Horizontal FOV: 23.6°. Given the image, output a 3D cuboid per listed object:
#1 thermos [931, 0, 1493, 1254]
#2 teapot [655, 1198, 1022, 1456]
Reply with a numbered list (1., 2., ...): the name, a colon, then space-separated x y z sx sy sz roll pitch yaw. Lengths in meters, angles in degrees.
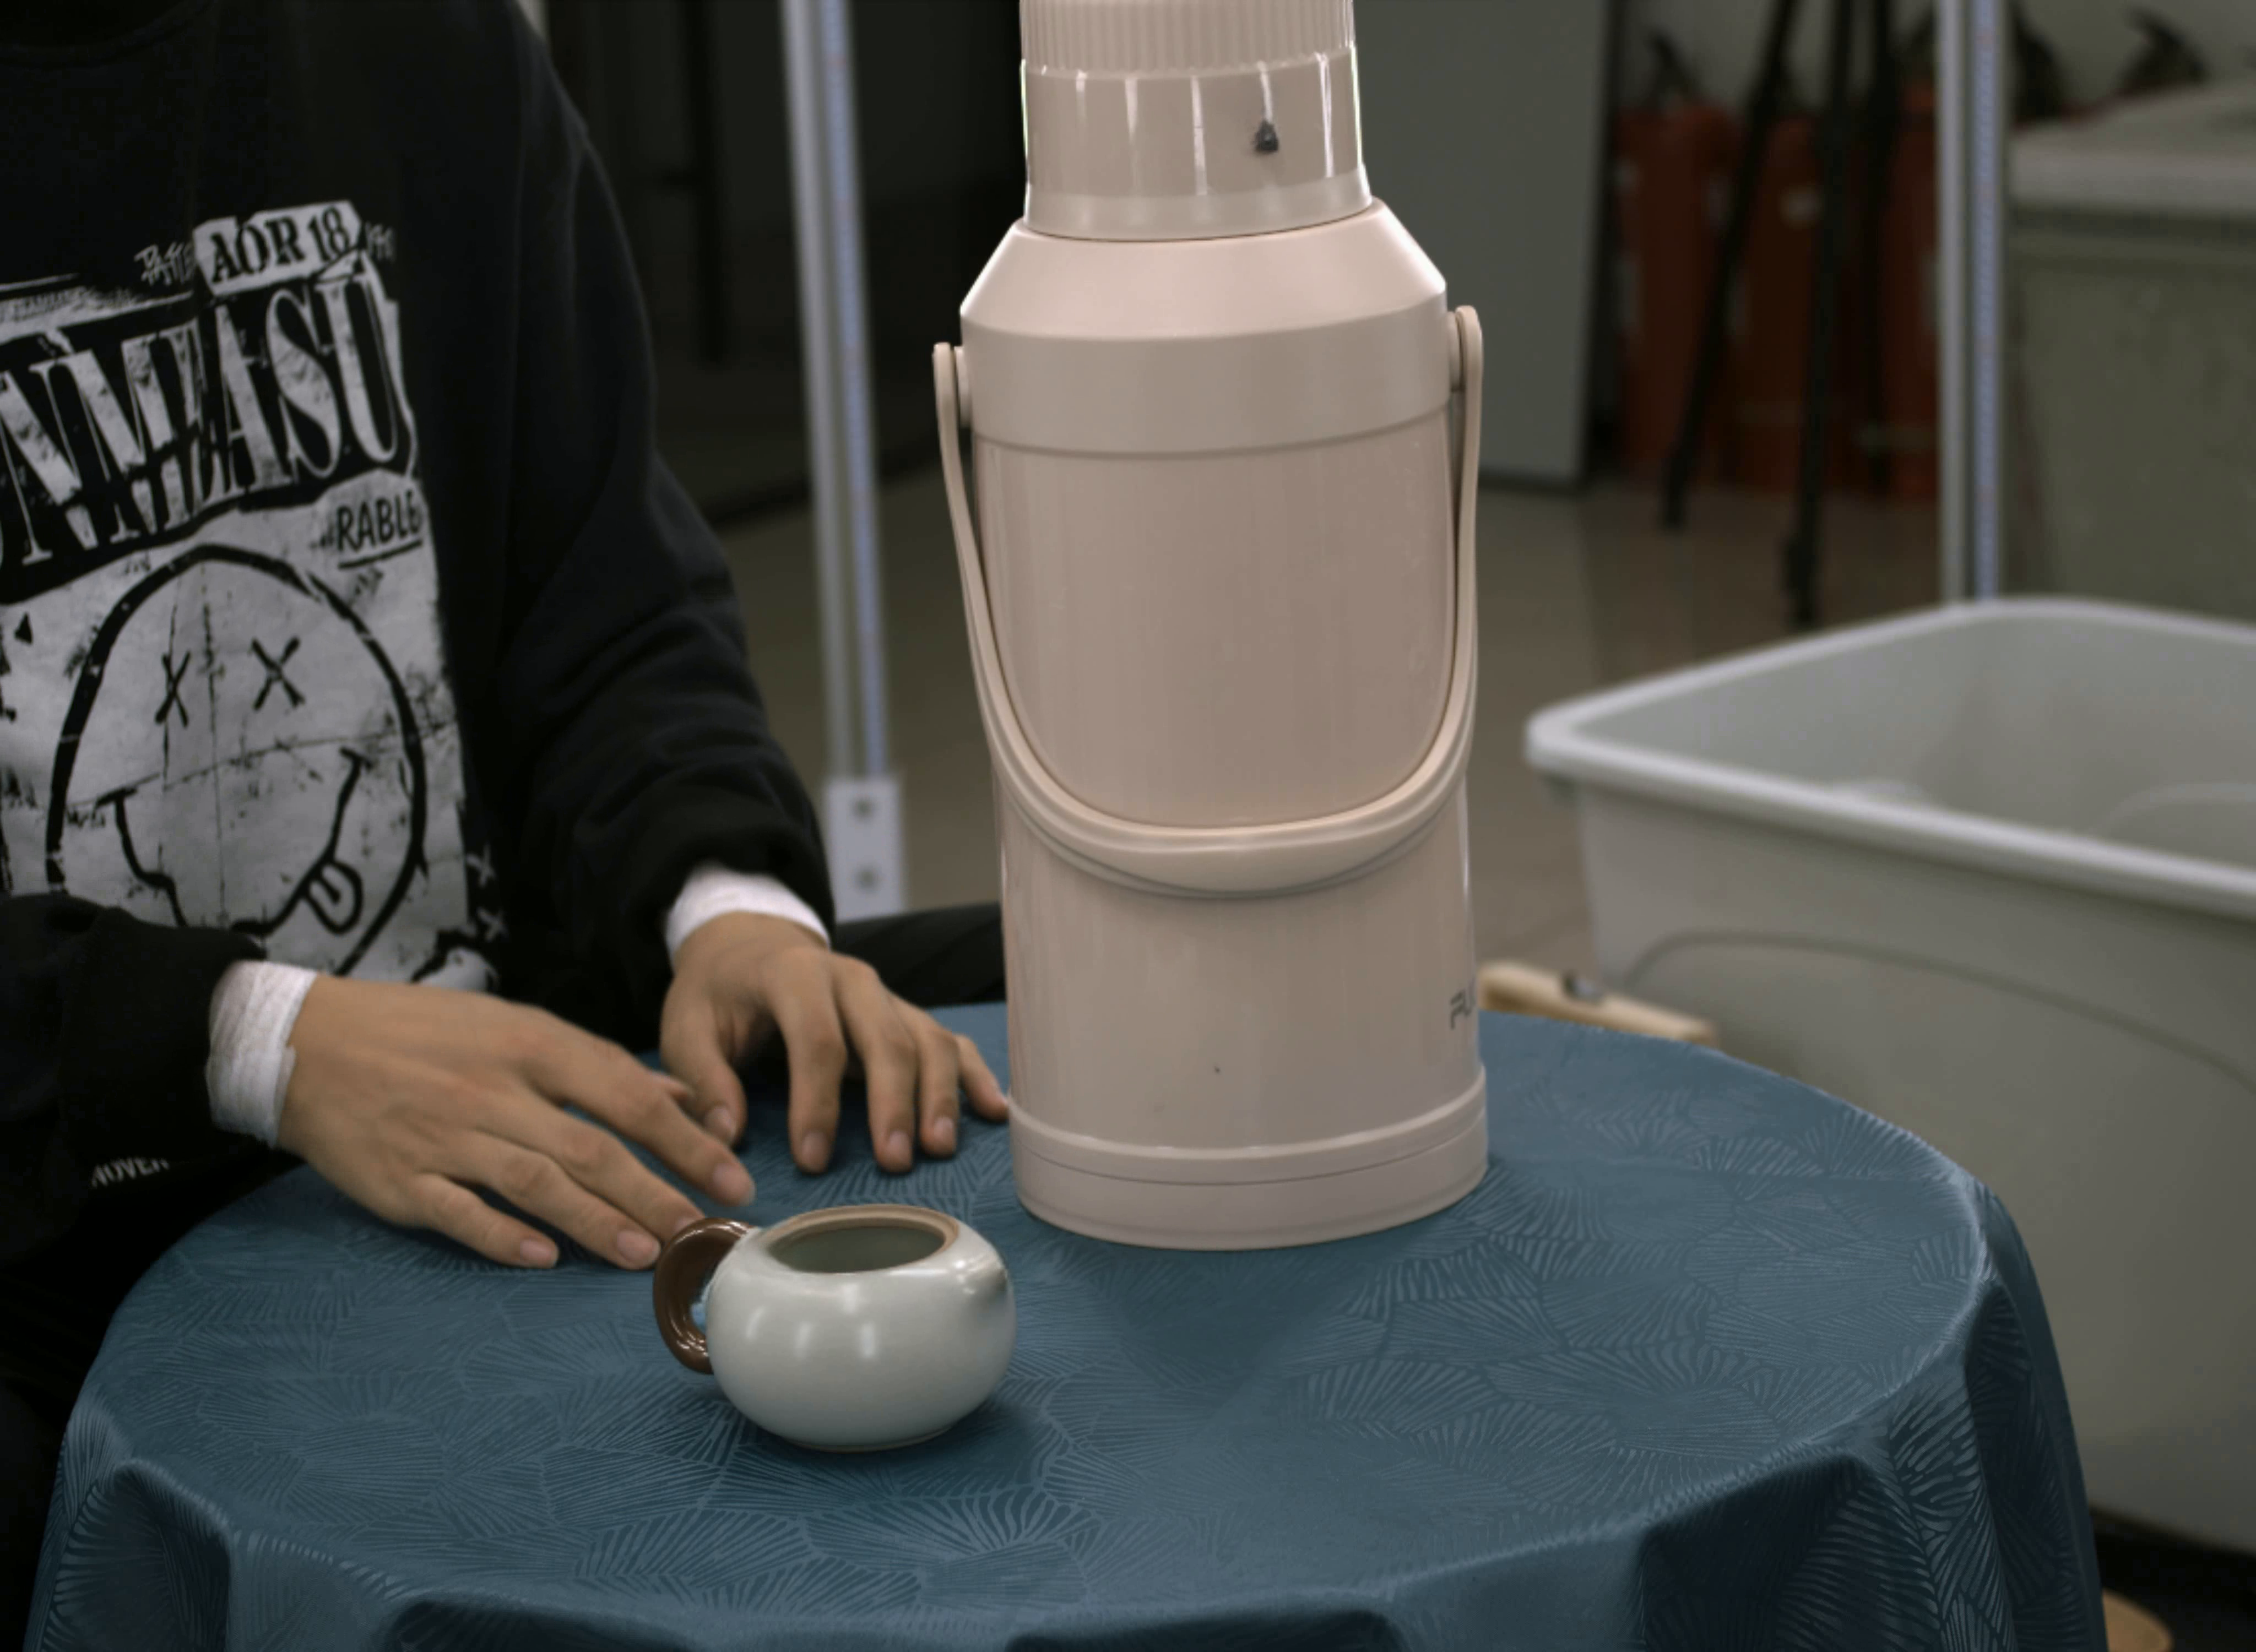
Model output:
1. thermos: 0.029 -0.081 1.751 0.173 0.410 0.208 -6 14 -3
2. teapot: -0.085 0.145 1.580 0.128 0.060 0.090 5 21 29
